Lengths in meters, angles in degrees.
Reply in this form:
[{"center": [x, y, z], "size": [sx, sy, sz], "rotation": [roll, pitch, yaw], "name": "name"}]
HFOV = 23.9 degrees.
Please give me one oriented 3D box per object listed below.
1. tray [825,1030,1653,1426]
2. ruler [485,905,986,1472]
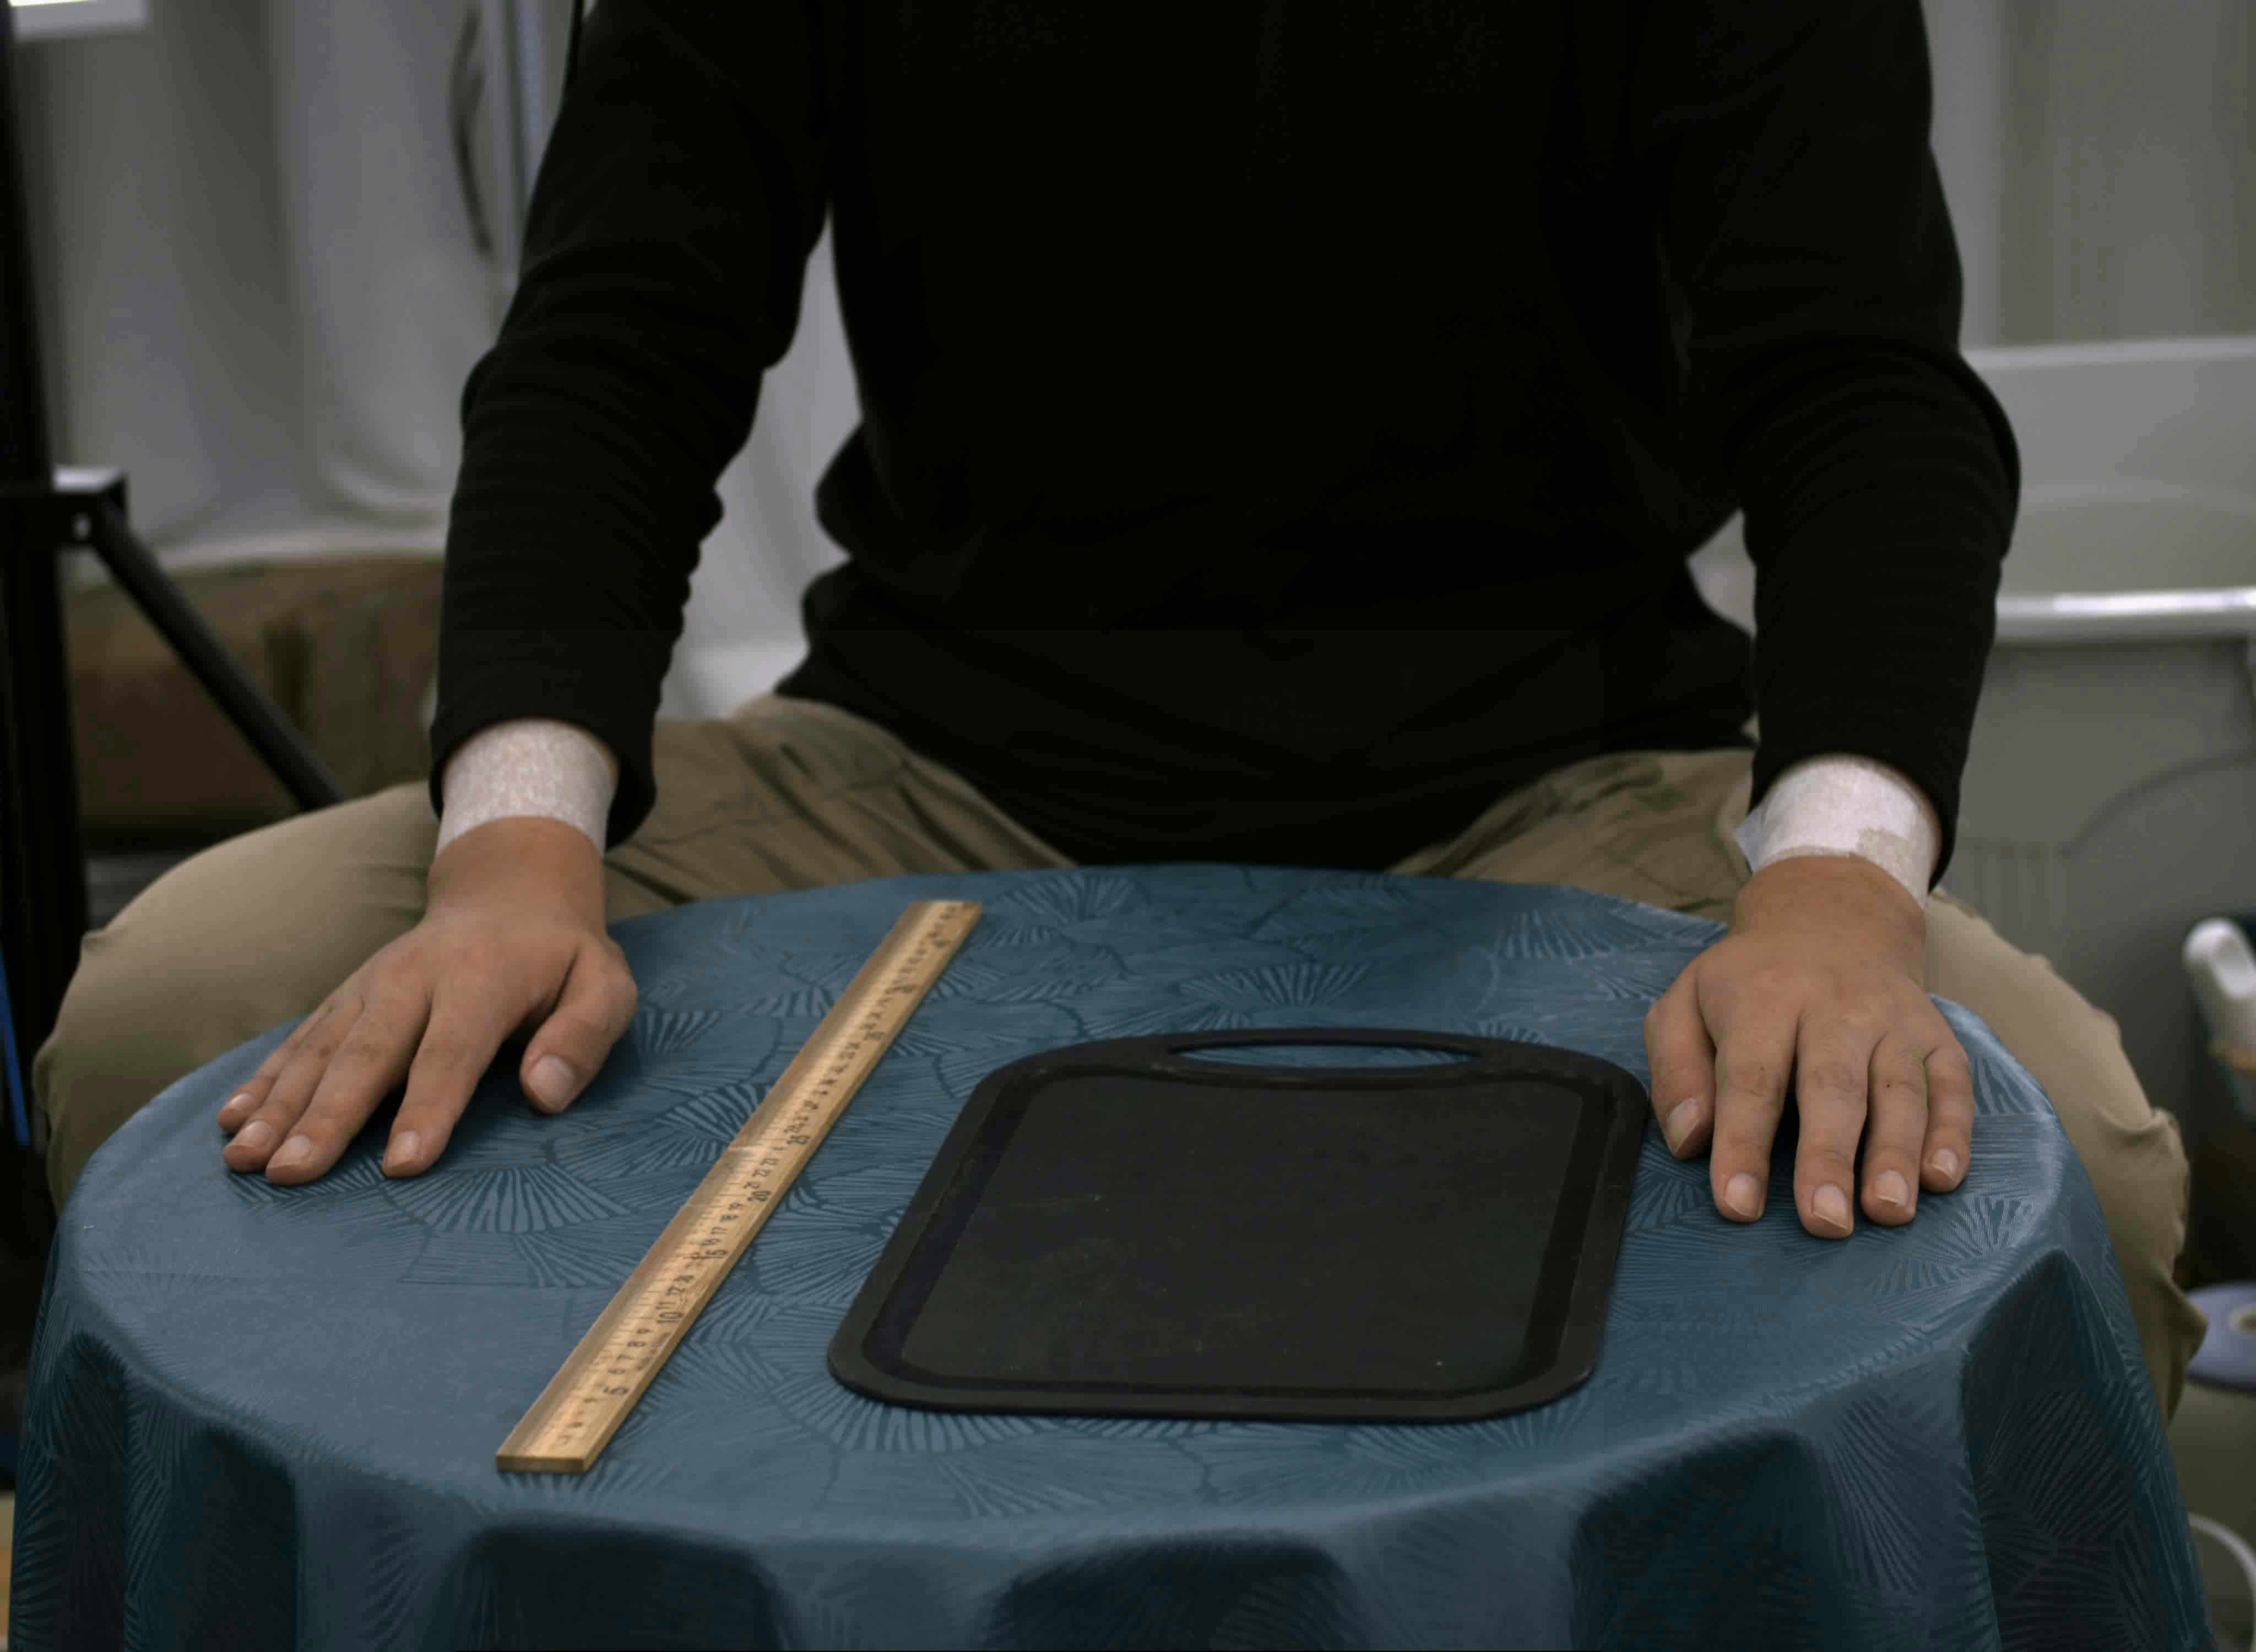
[{"center": [0.040, 0.108, 1.536], "size": [0.212, 0.010, 0.324], "rotation": [0, 16, 11], "name": "tray"}, {"center": [-0.106, 0.097, 1.605], "size": [0.027, 0.006, 0.498], "rotation": [2, 16, 11], "name": "ruler"}]
